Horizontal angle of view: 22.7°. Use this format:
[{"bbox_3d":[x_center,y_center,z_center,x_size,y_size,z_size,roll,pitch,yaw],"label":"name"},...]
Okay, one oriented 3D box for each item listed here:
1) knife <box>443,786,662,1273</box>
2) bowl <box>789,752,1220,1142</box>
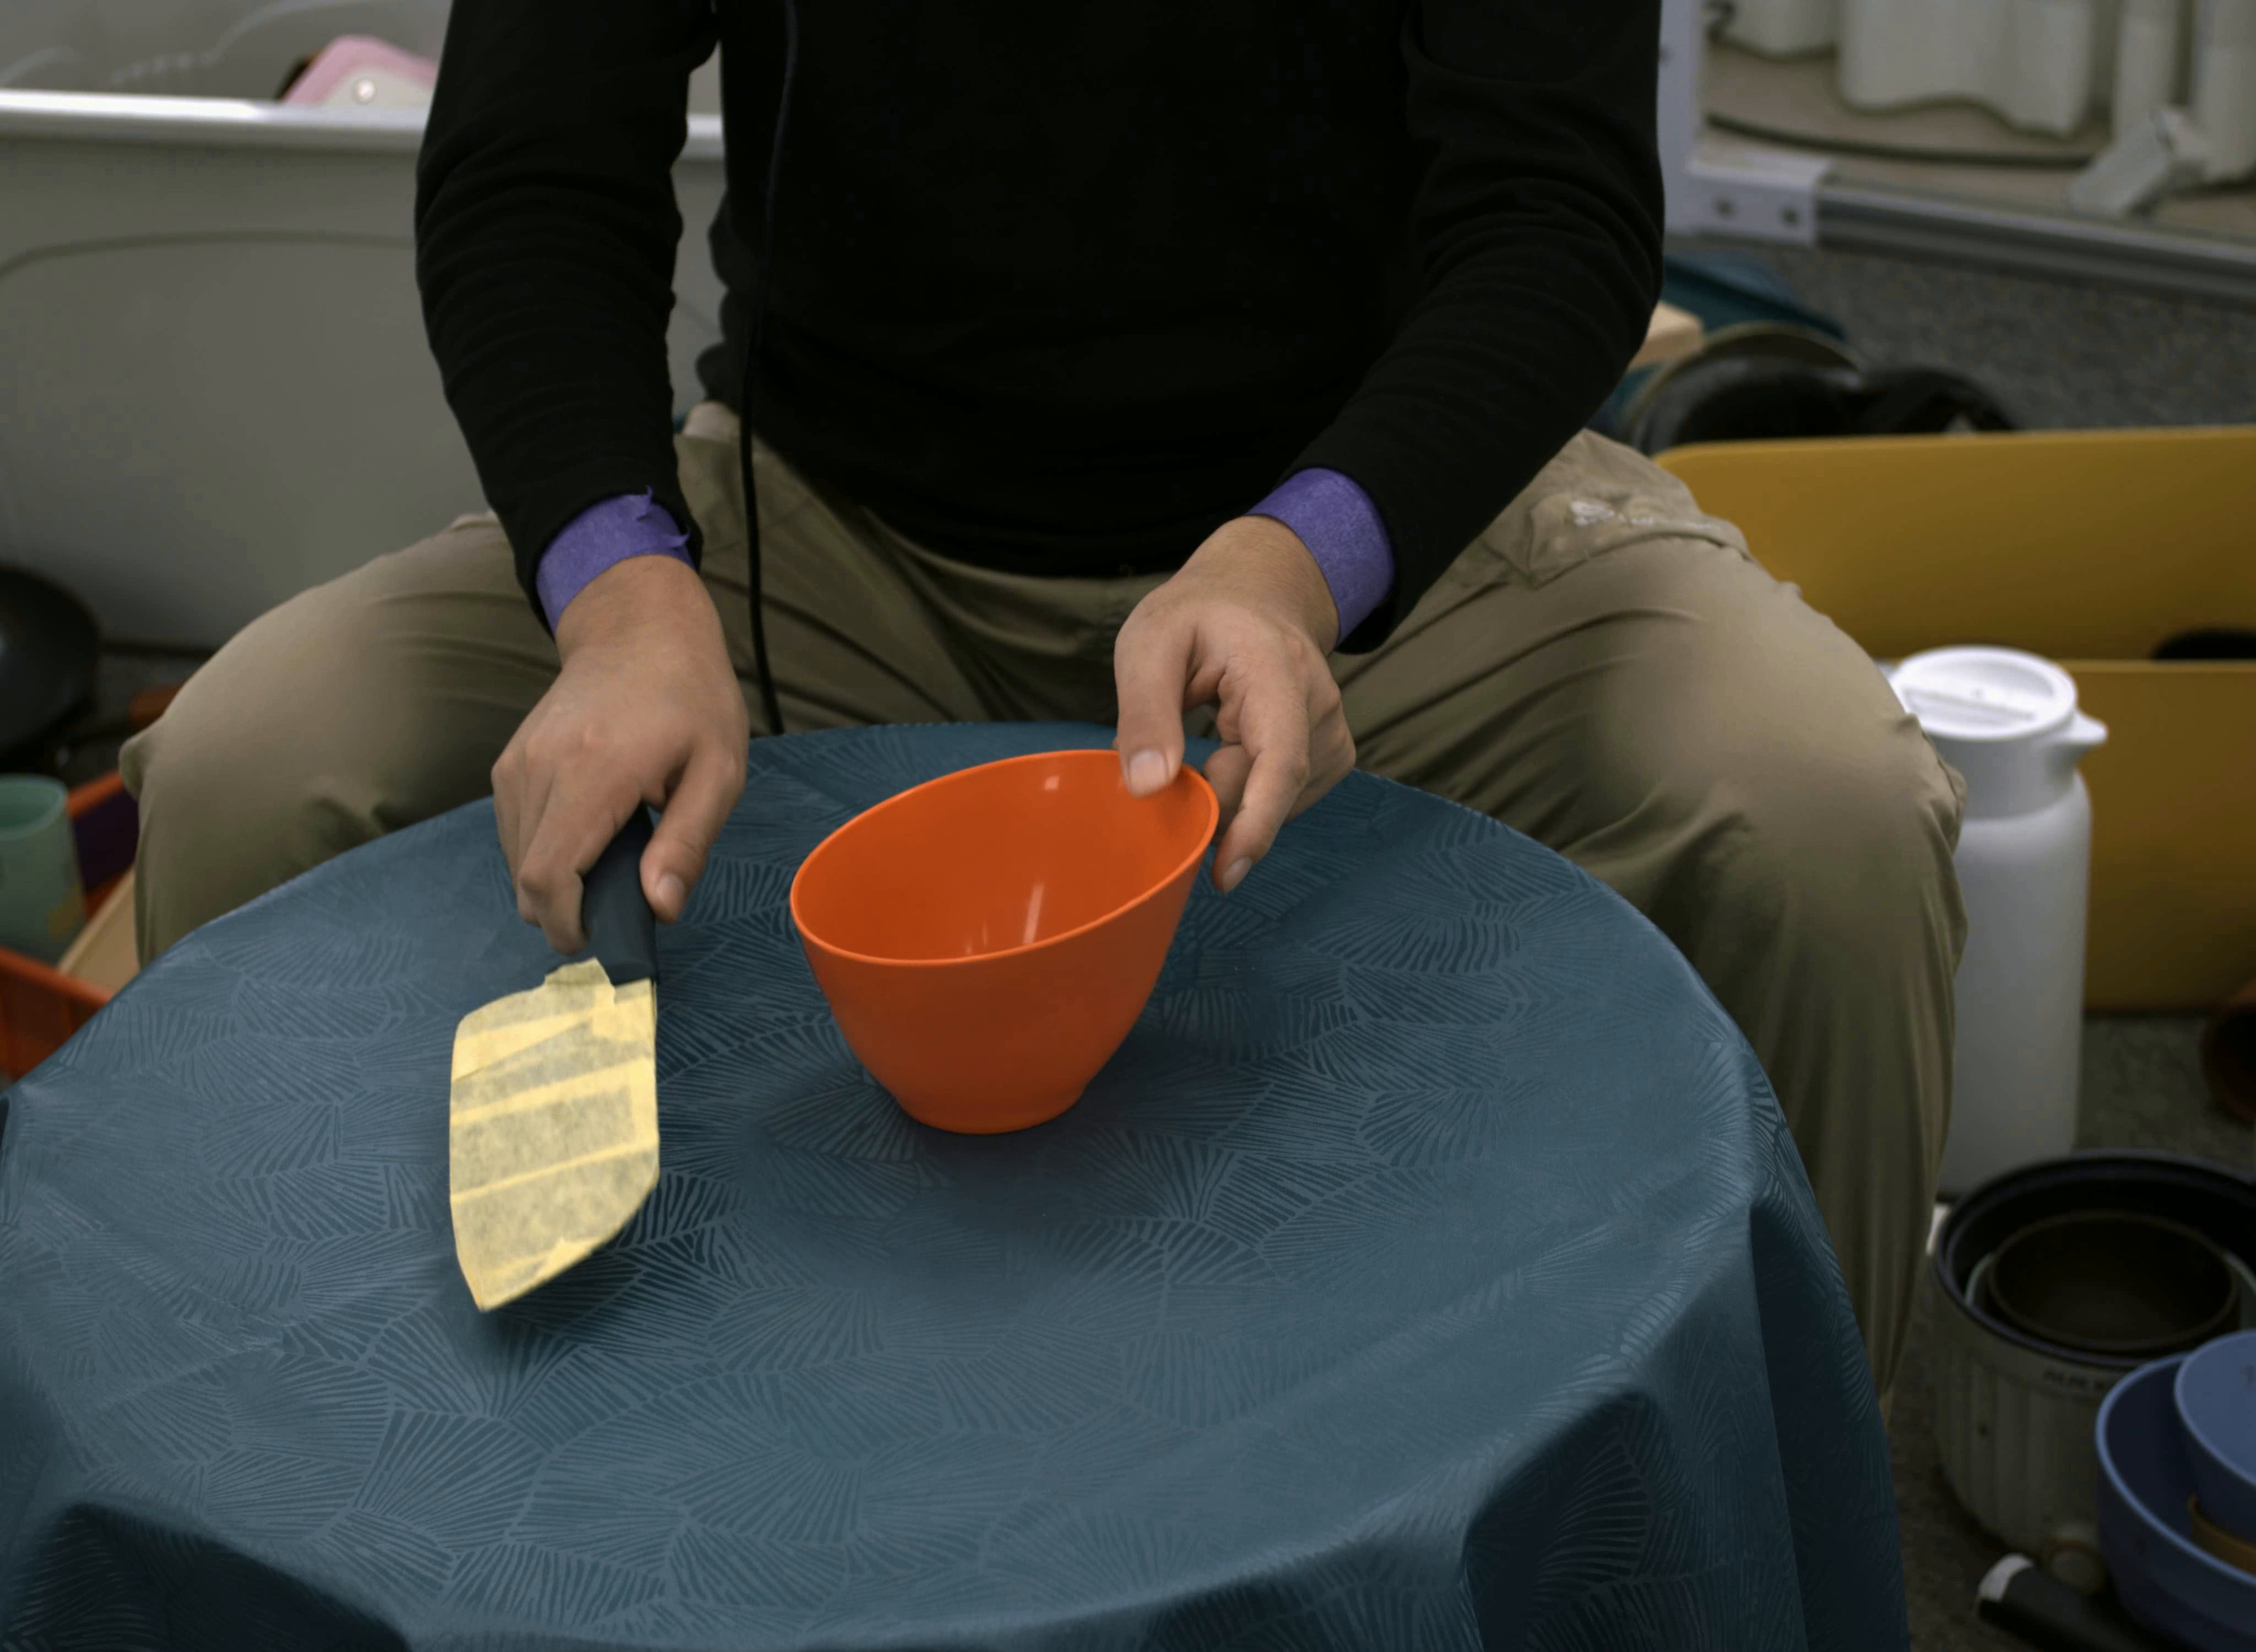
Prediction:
[{"bbox_3d":[-0.193,0.068,1.903,0.080,0.027,0.294,-13,30,6],"label":"knife"},{"bbox_3d":[-0.039,0.047,1.900,0.147,0.103,0.150,-3,27,2],"label":"bowl"}]
